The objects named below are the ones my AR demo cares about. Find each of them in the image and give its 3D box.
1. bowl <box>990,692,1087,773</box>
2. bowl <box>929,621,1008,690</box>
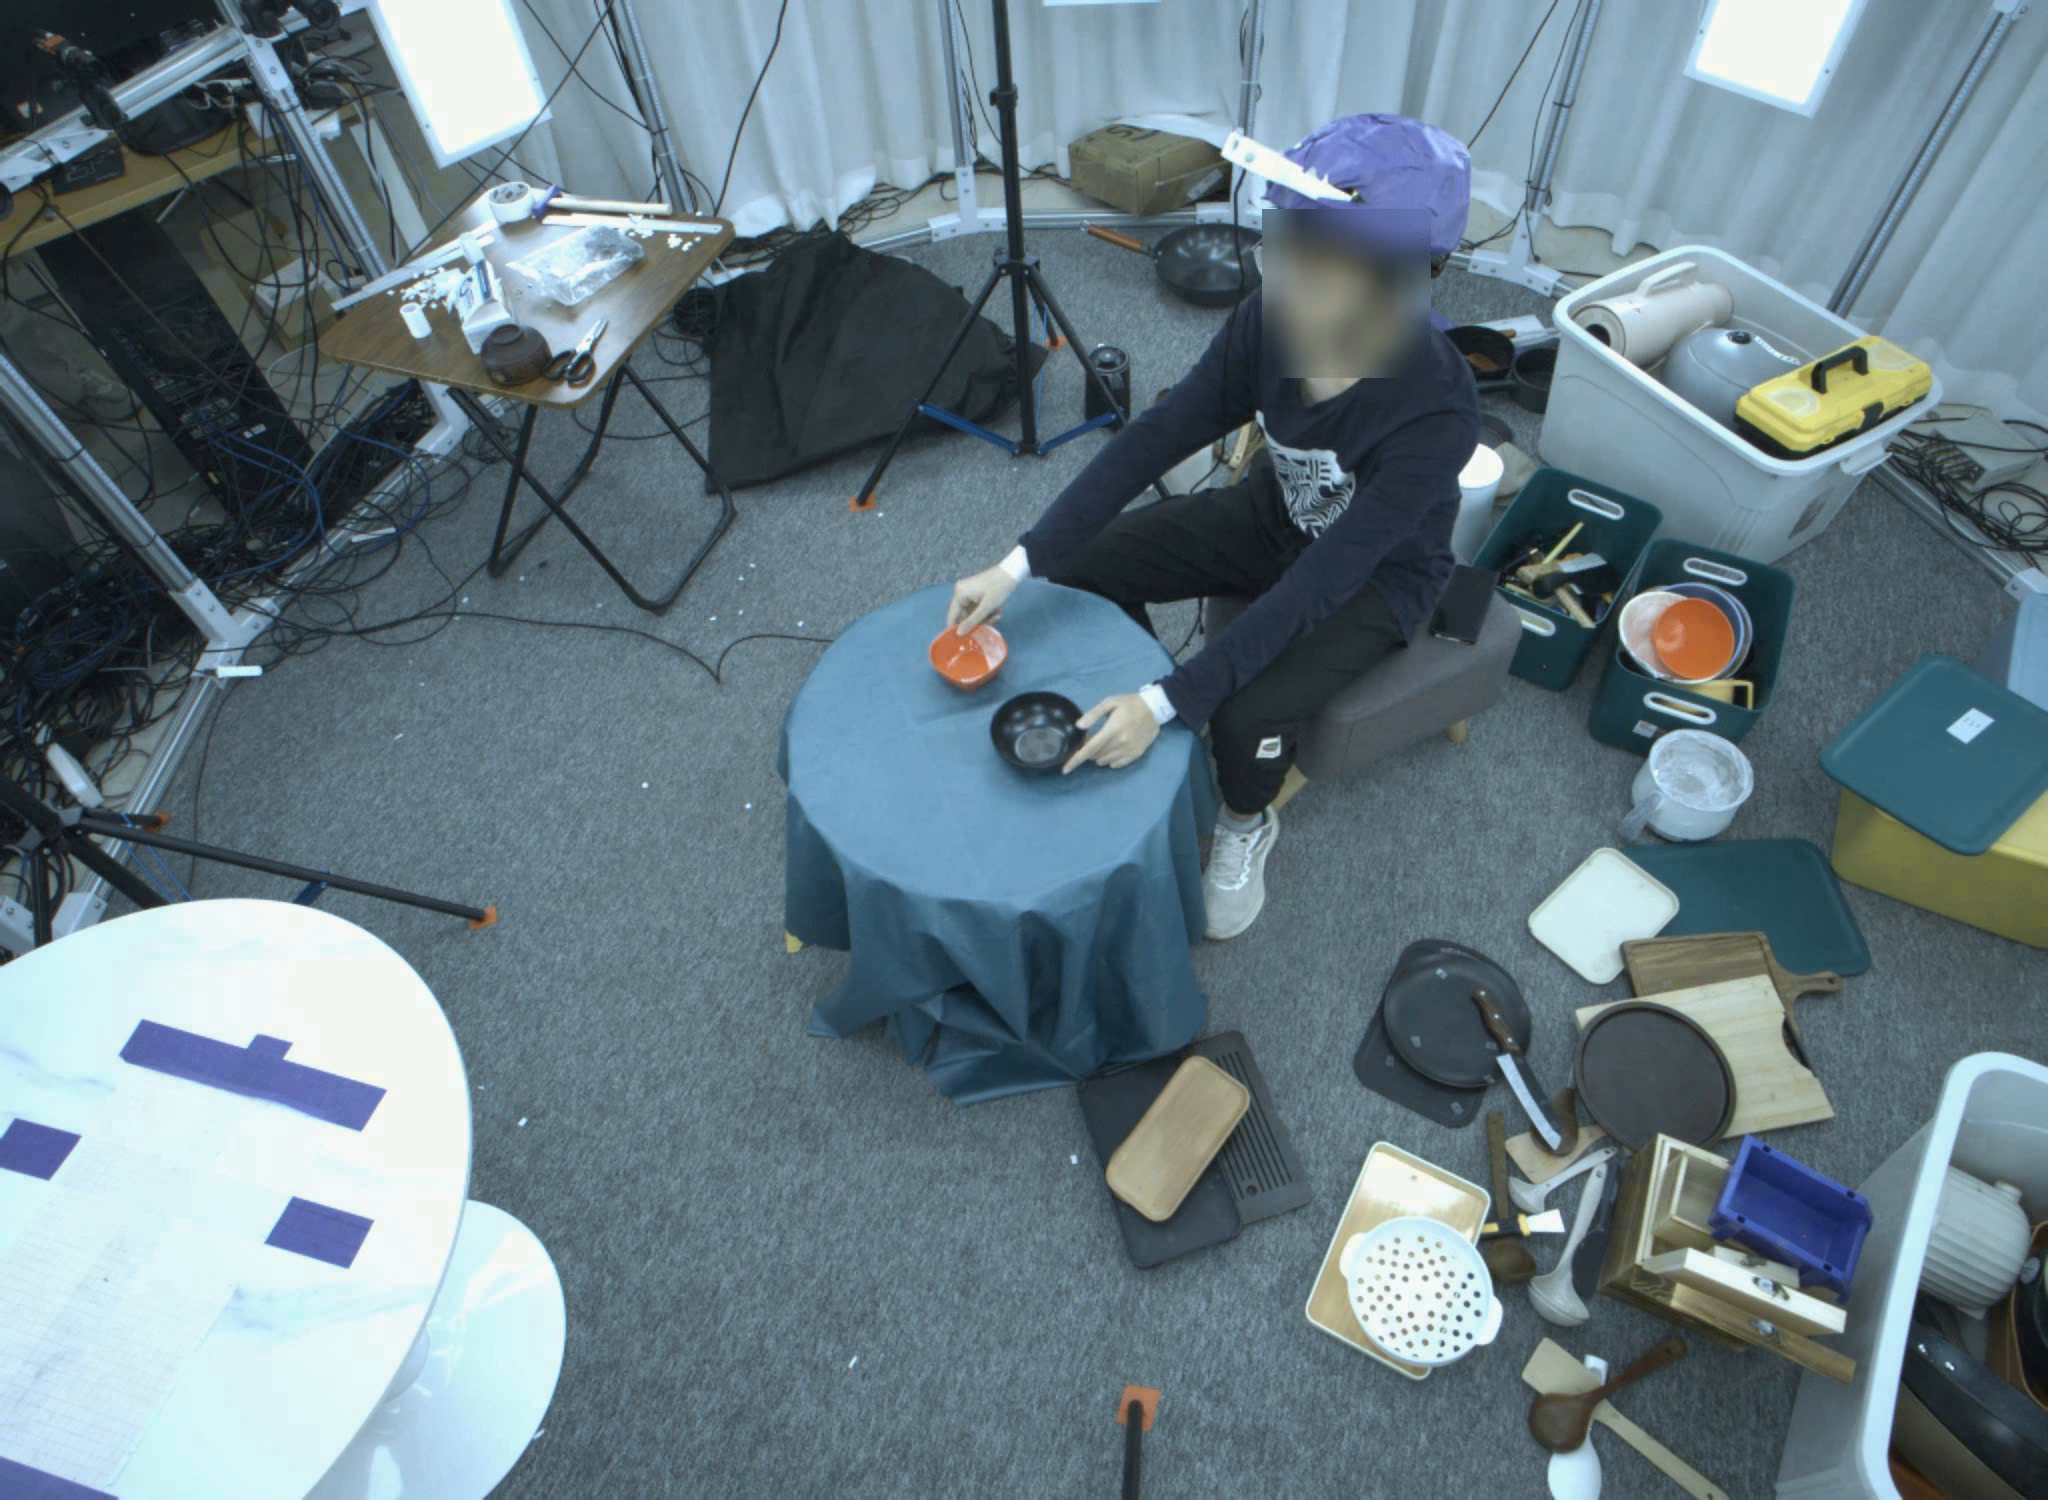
[{"bbox_3d":[0.021,-0.017,1.779,0.140,0.050,0.138,1,52,0],"label":"bowl"},{"bbox_3d":[-0.082,-0.136,1.862,0.119,0.052,0.117,-1,55,3],"label":"bowl"}]
